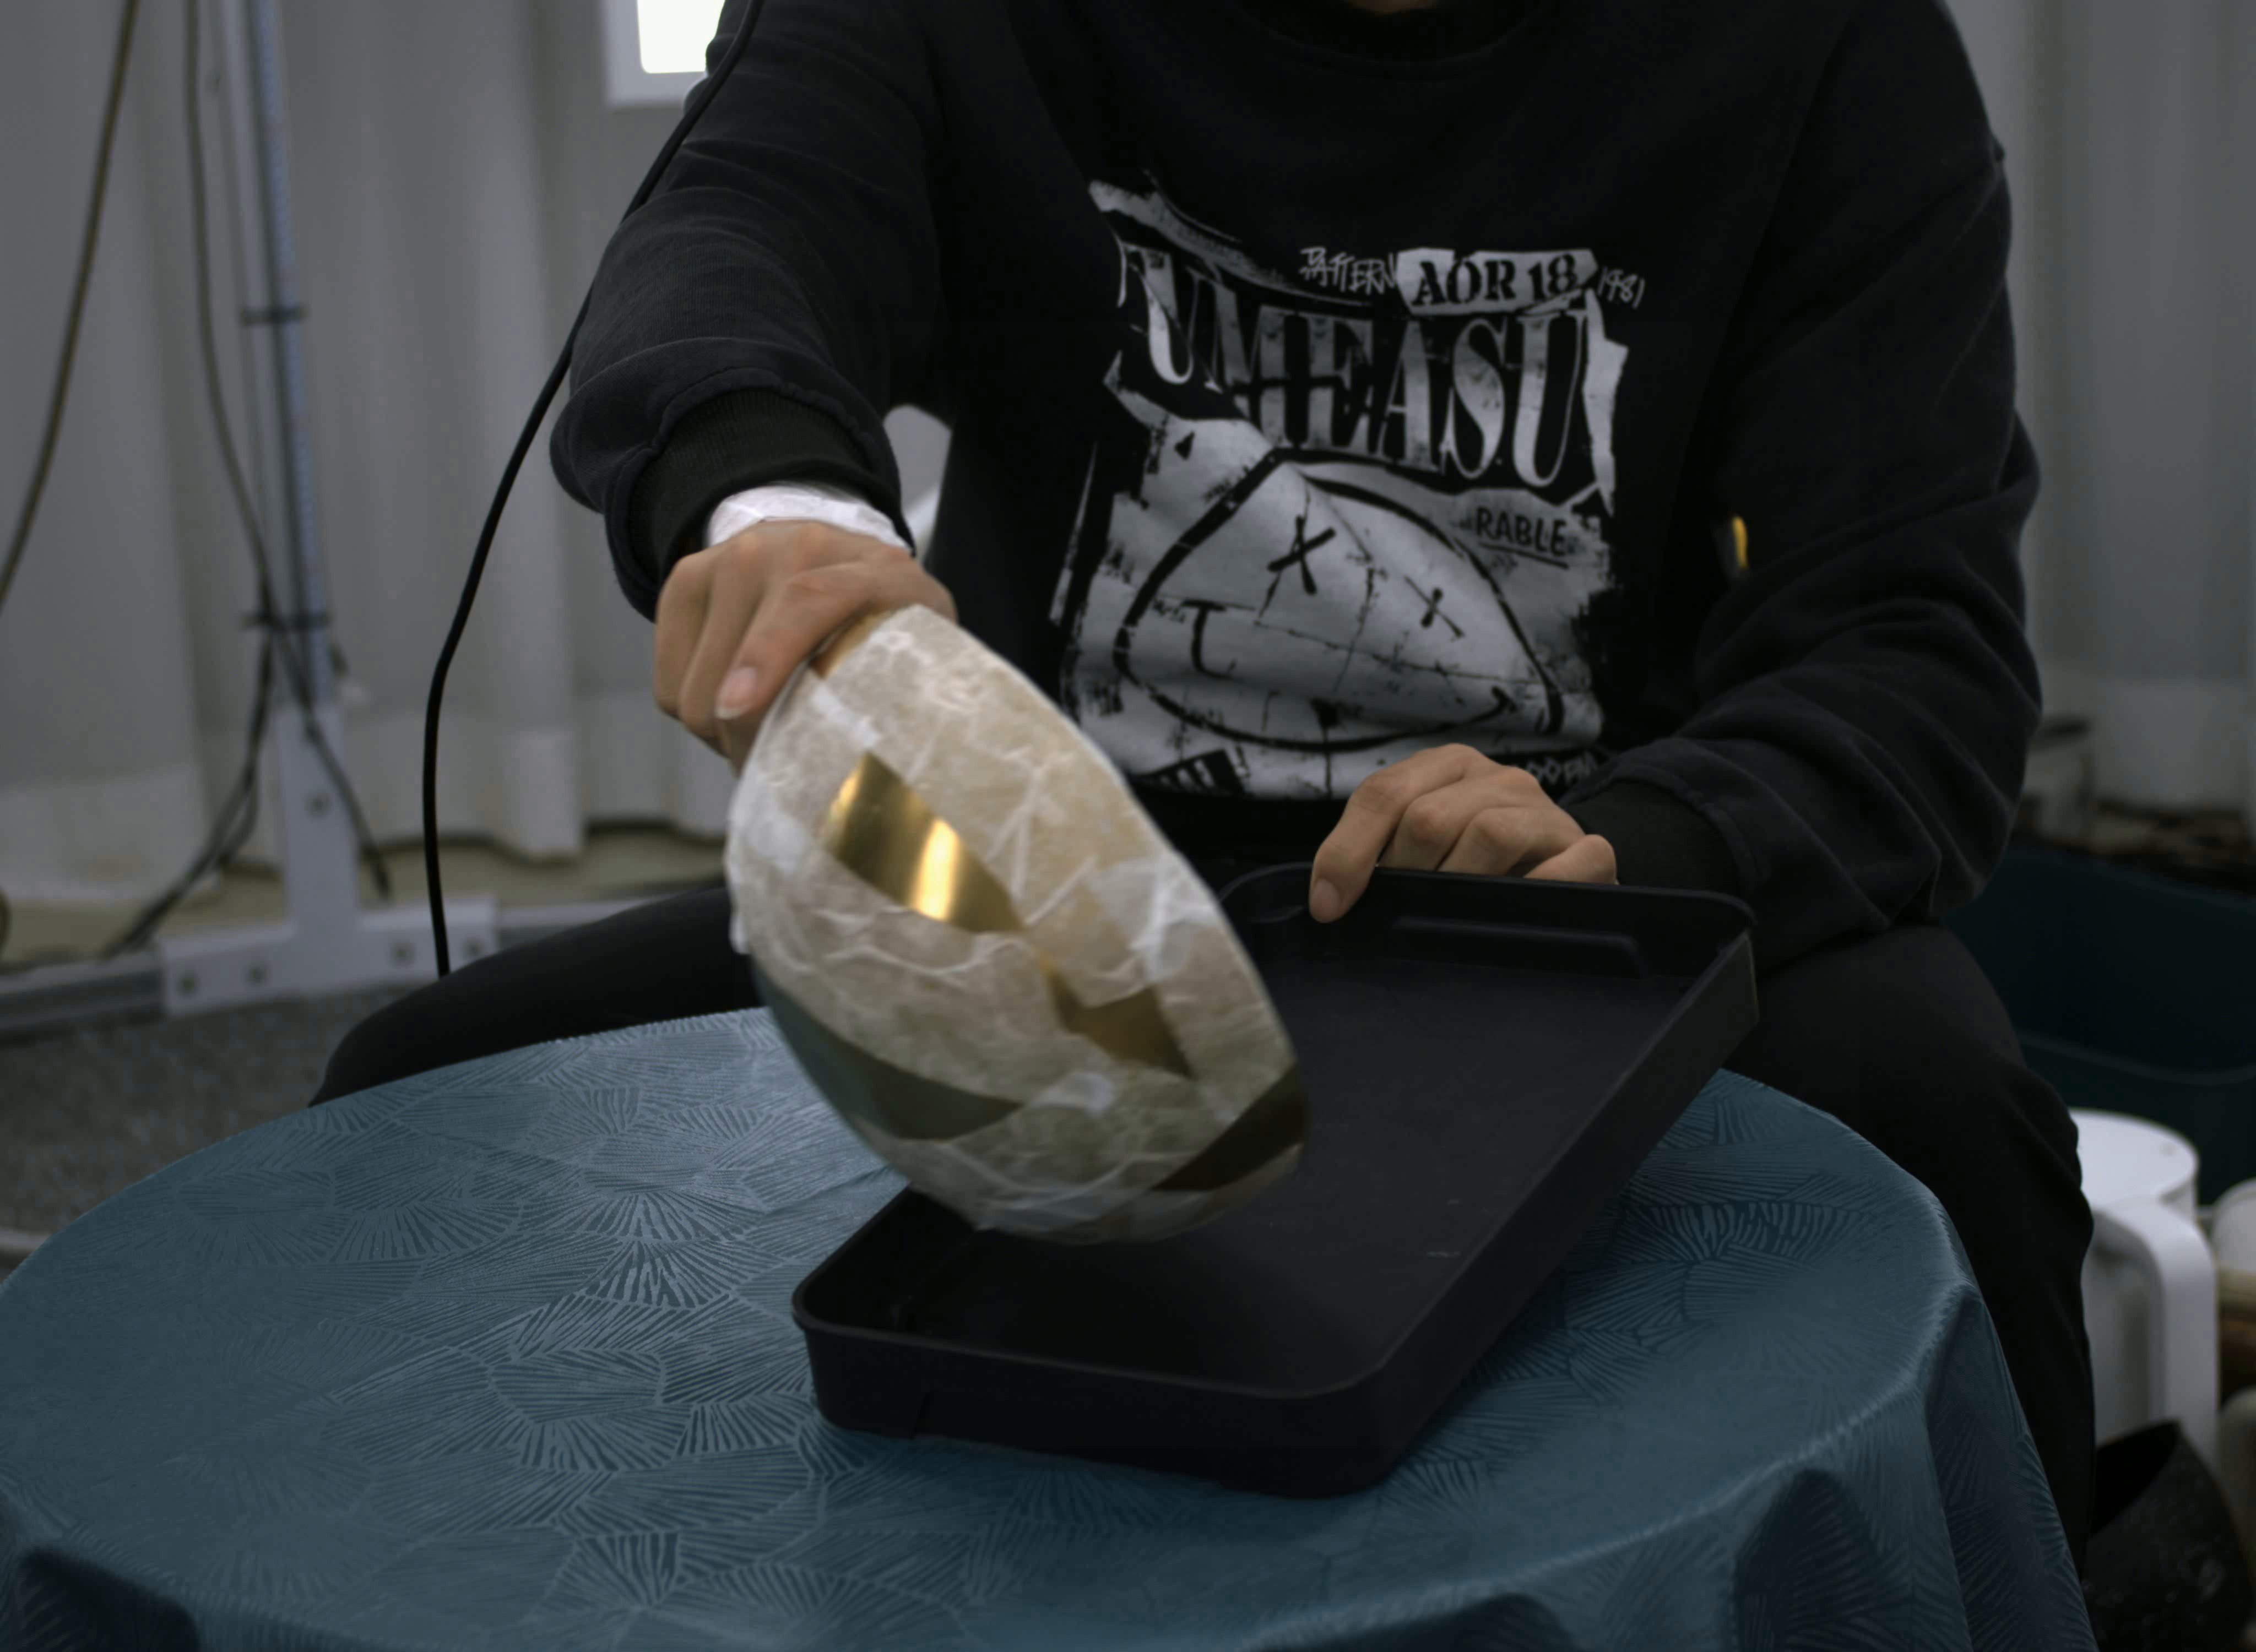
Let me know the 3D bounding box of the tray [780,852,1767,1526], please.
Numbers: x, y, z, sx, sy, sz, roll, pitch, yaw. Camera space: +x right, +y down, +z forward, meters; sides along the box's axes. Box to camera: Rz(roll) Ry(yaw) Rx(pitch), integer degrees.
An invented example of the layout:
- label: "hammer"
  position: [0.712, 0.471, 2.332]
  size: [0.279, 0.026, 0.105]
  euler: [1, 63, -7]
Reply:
- label: "tray"
  position: [0.051, 0.098, 1.611]
  size: [0.185, 0.037, 0.320]
  euler: [6, 28, 29]

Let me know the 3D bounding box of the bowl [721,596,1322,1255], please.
- label: "bowl"
  position: [-0.048, 0.047, 1.525]
  size: [0.095, 0.212, 0.216]
  euler: [-36, 26, -16]
